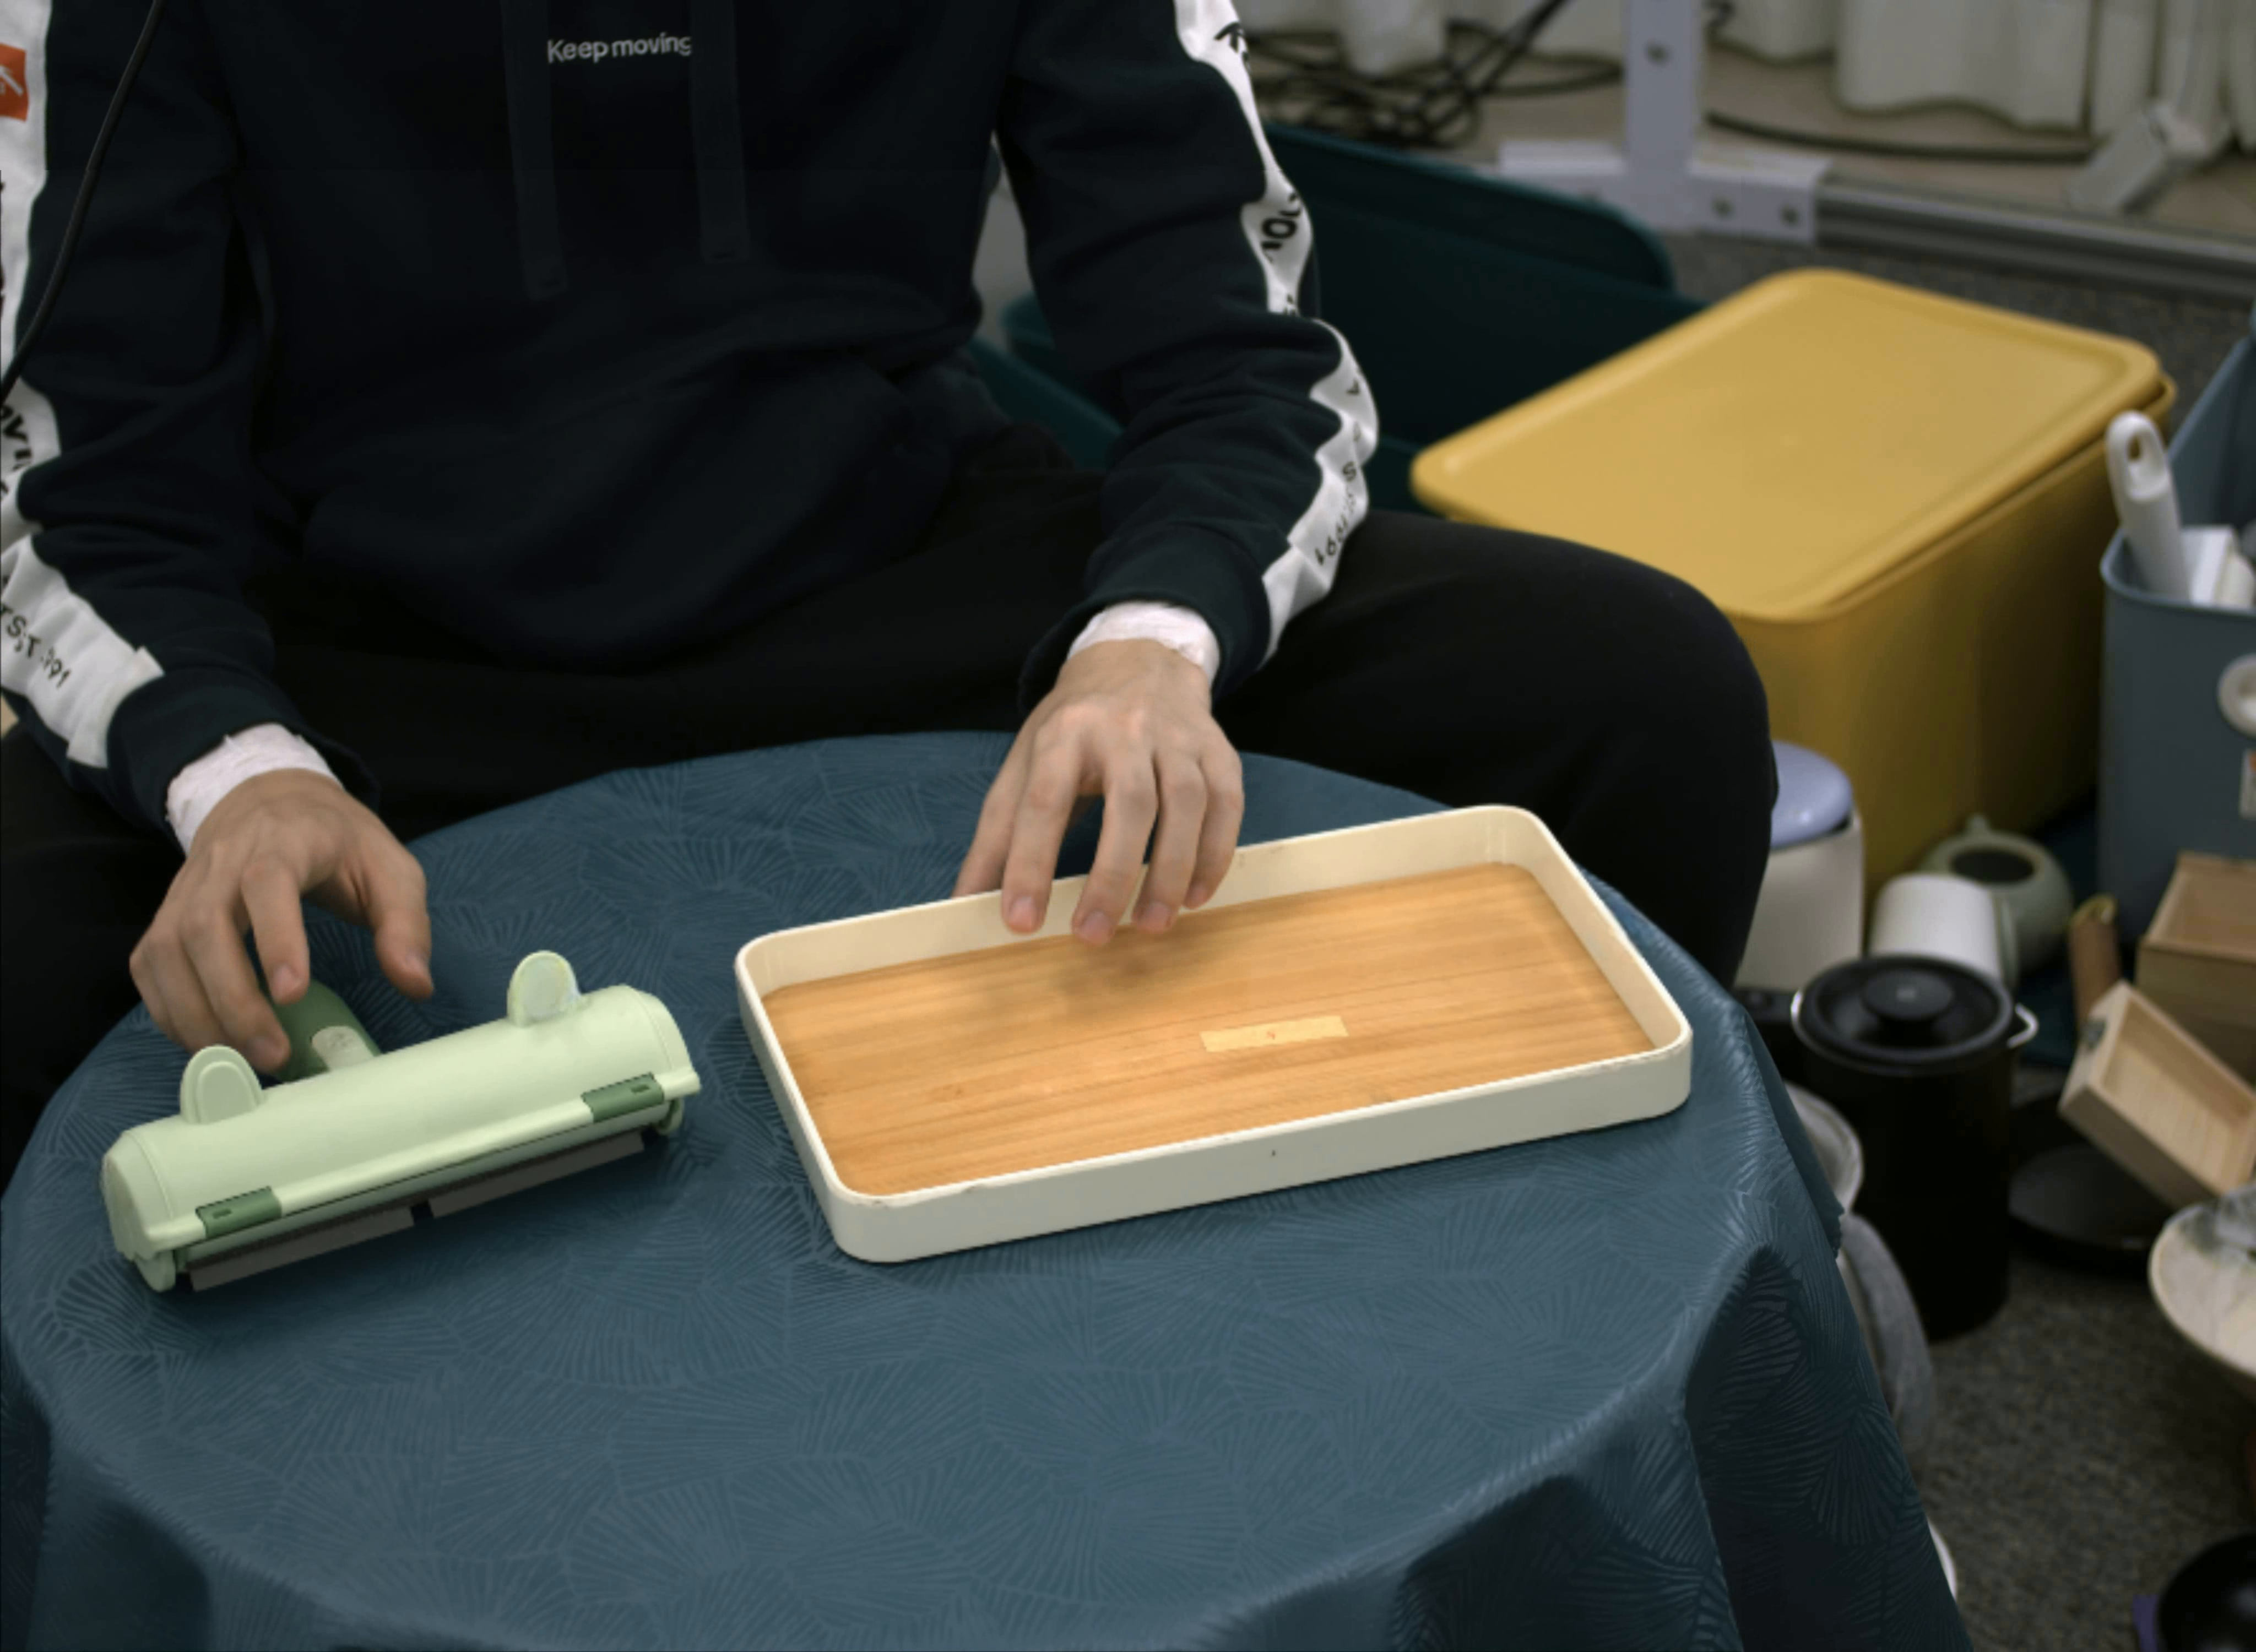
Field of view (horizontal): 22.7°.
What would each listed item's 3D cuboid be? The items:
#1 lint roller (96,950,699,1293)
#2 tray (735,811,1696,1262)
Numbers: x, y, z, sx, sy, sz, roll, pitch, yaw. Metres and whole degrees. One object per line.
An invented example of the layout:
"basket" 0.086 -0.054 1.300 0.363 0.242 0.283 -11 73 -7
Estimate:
"lint roller" -0.267 0.072 1.900 0.199 0.081 0.184 -16 34 -24
"tray" 0.027 0.069 1.931 0.300 0.027 0.193 -10 28 -13
